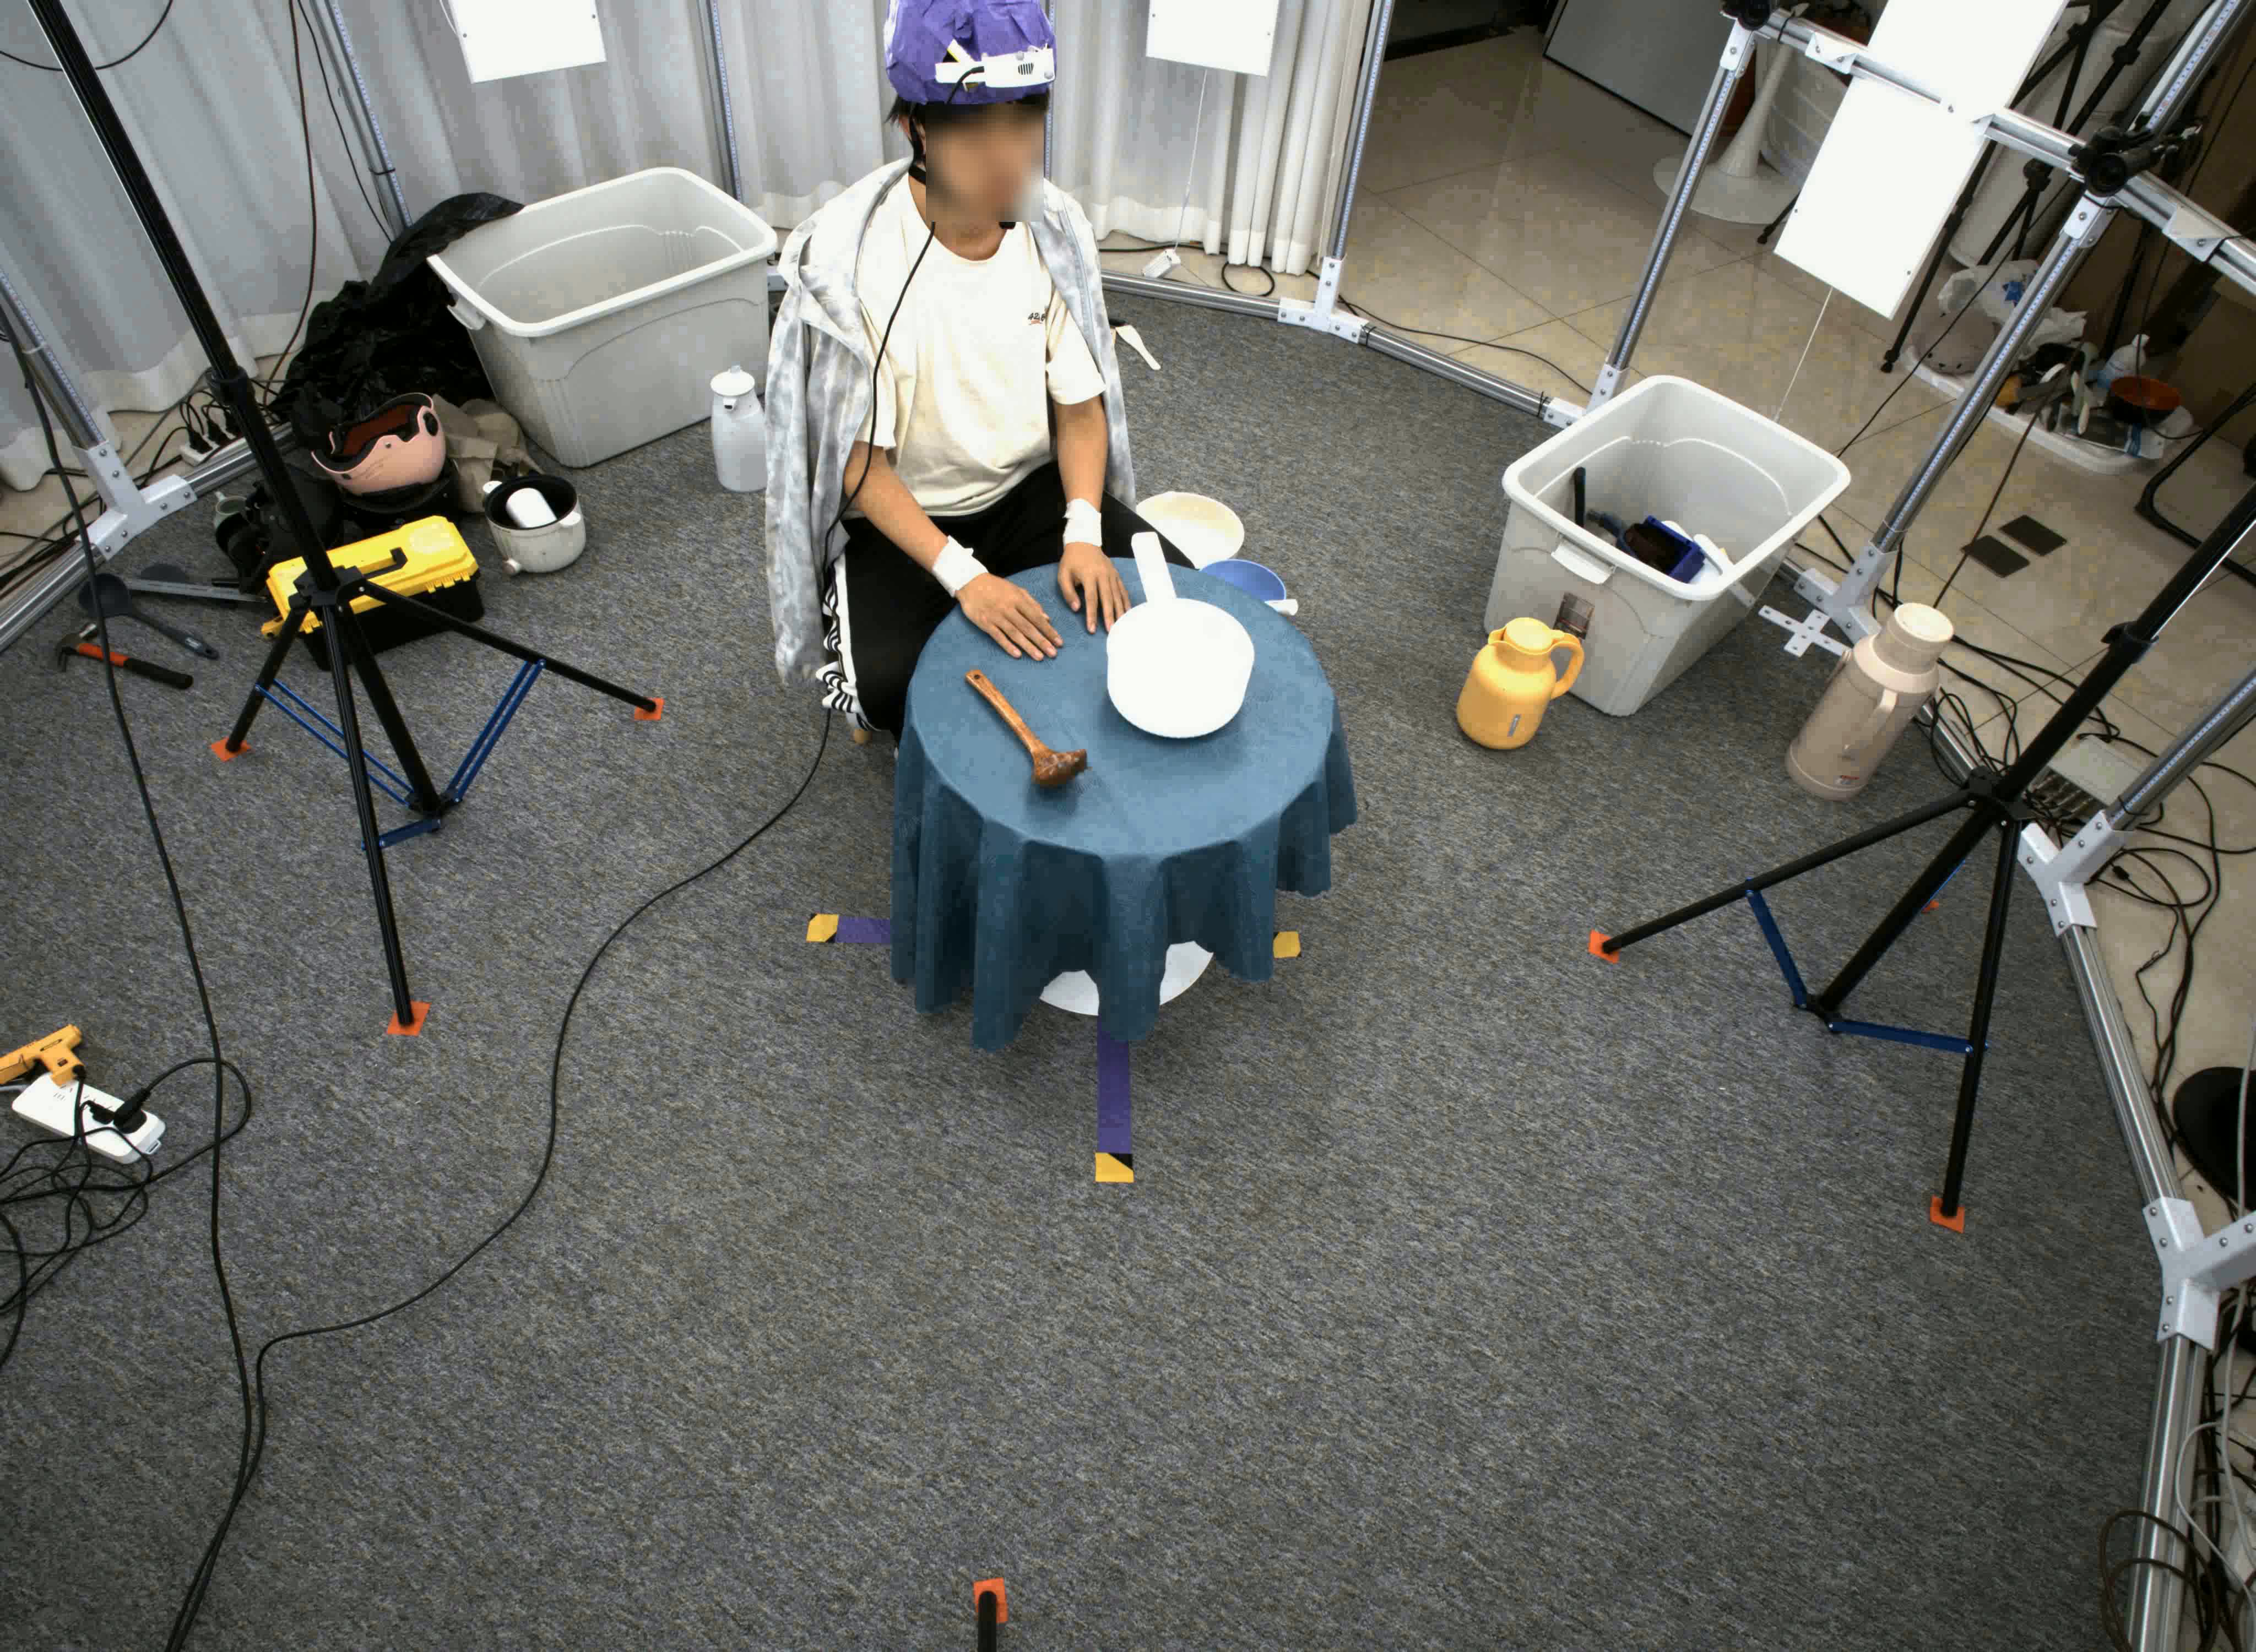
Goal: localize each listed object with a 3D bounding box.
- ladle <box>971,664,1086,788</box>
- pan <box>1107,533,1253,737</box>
[{"bbox_3d":[-0.147,-0.149,1.729,0.082,0.075,0.280,-23,55,-20],"label":"ladle"},{"bbox_3d":[0.056,-0.273,1.840,0.201,0.099,0.364,-6,49,-8],"label":"pan"}]
